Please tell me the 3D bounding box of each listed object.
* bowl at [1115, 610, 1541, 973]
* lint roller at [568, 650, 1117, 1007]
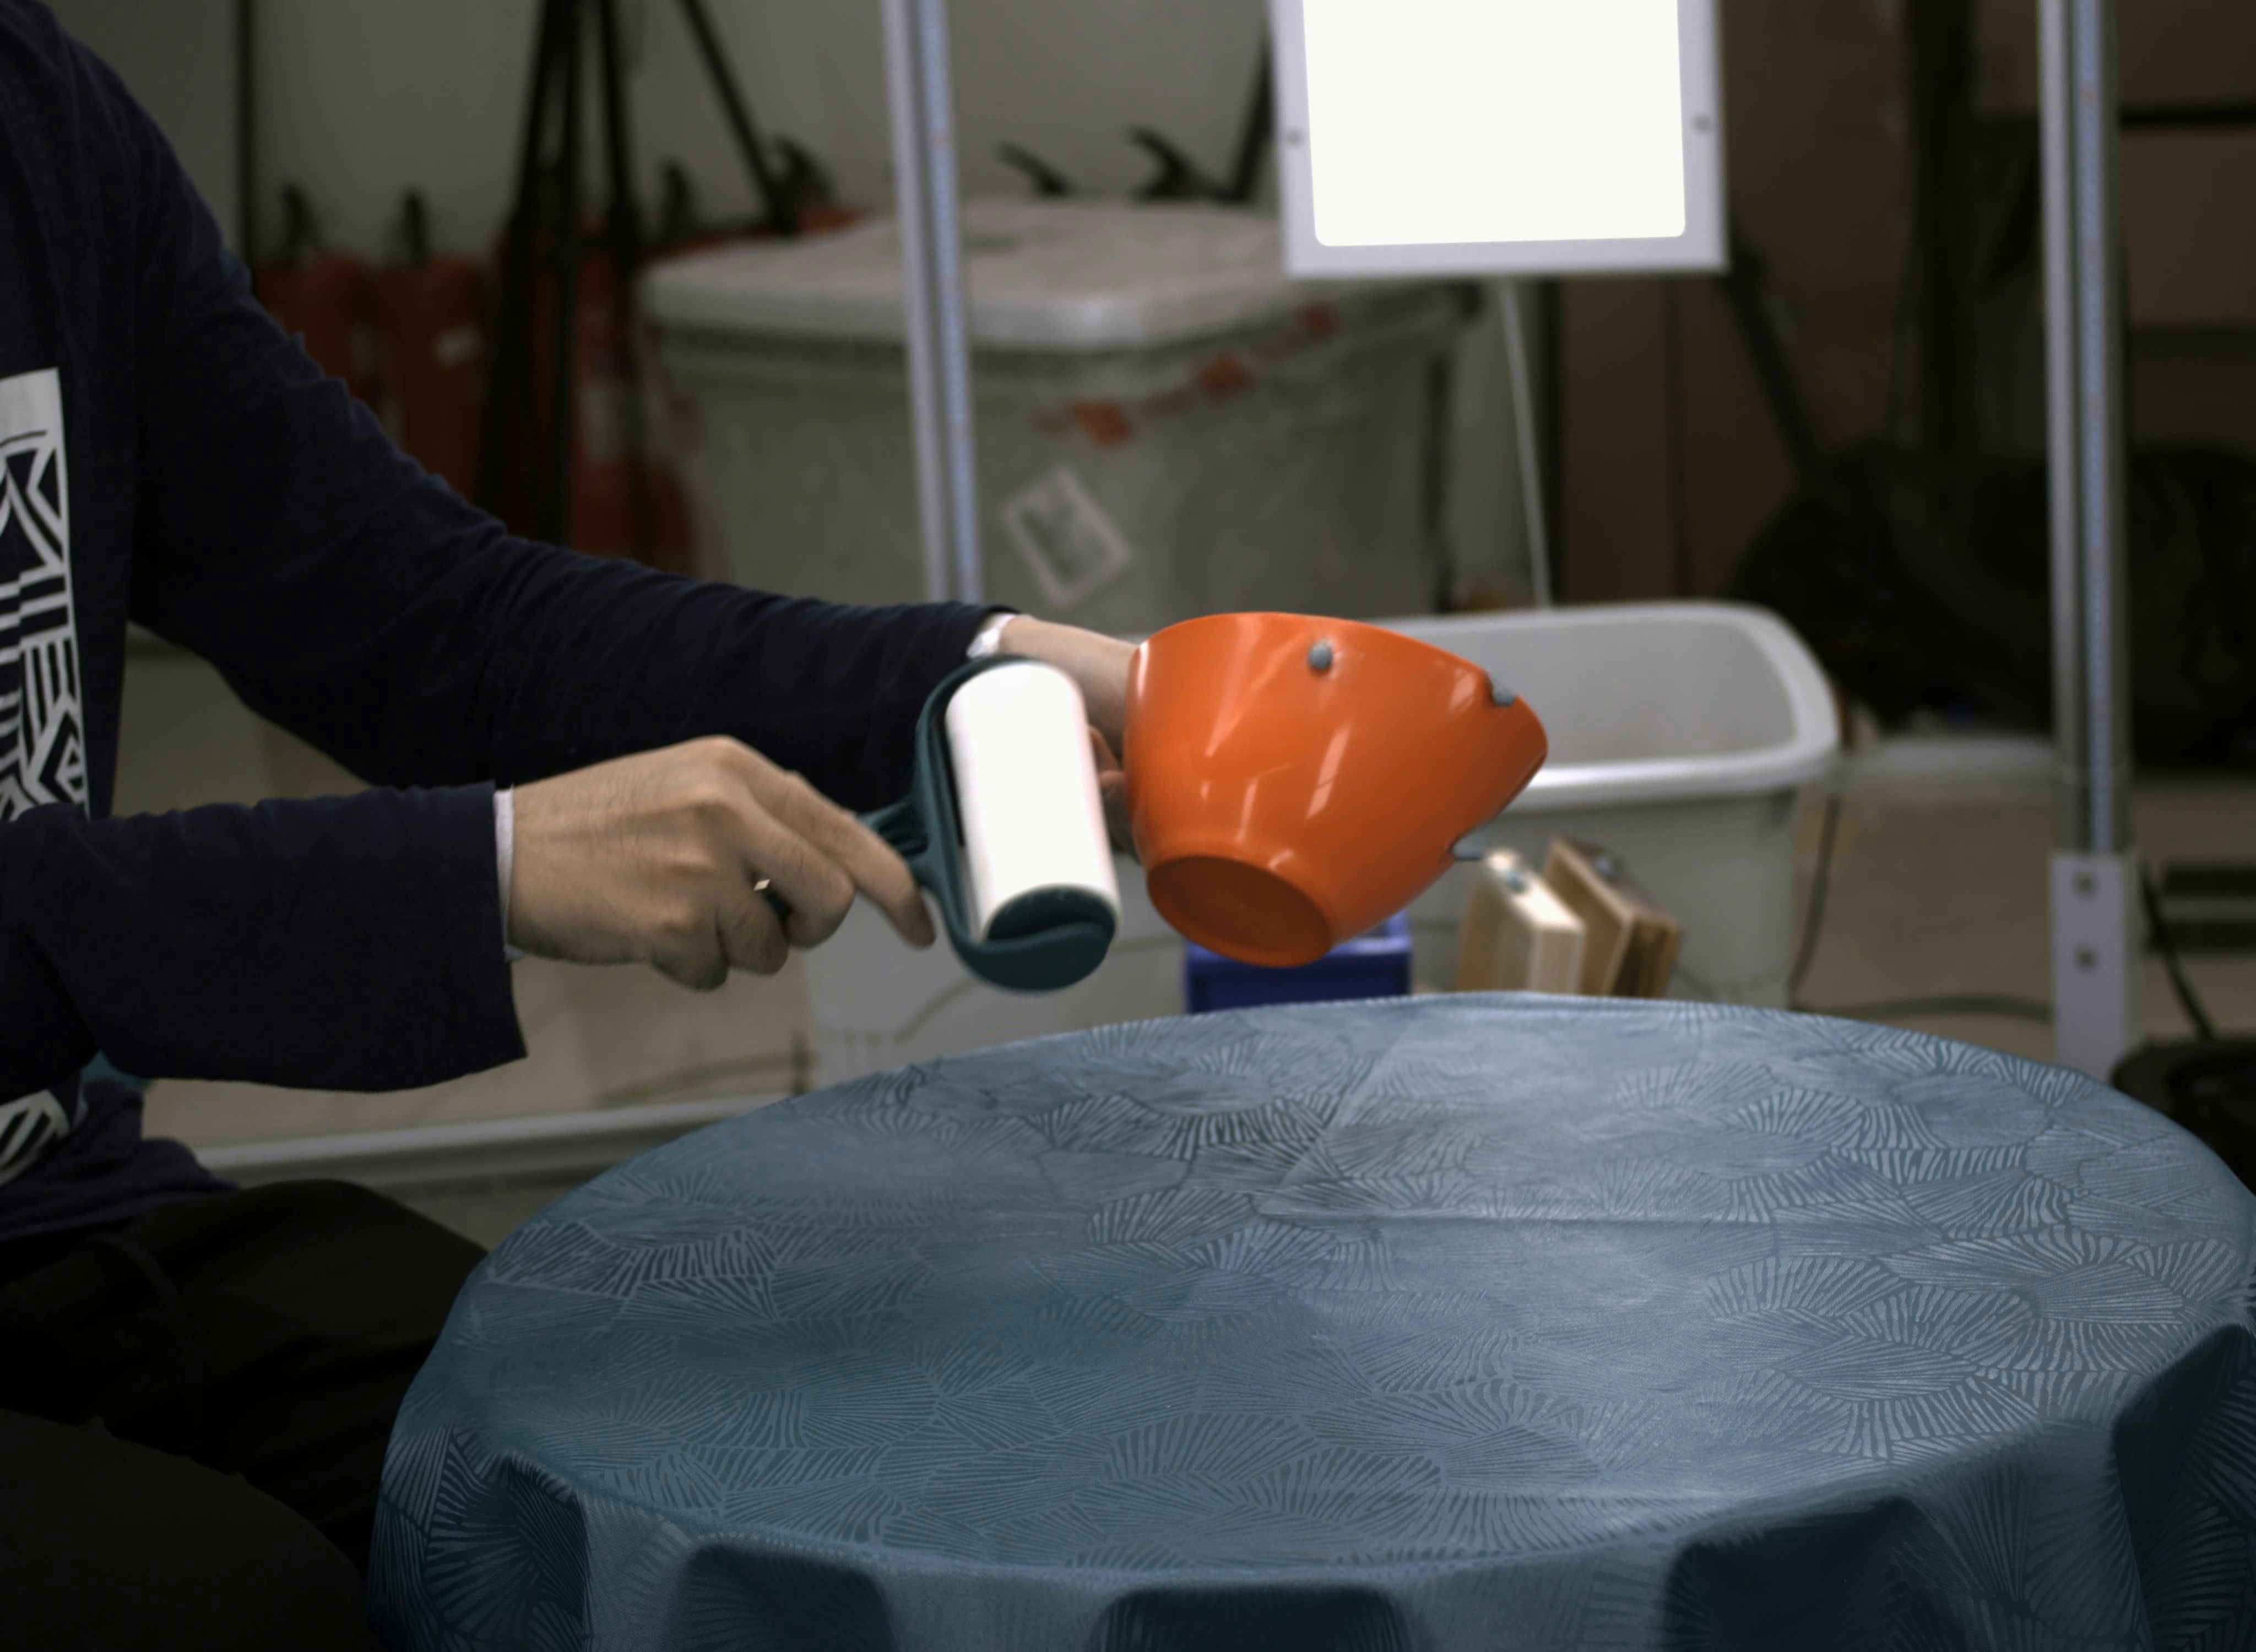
[{"bbox_3d":[0.059,-0.004,1.884,0.150,0.147,0.103,3,55,27],"label":"bowl"},{"bbox_3d":[-0.099,0.011,1.828,0.179,0.048,0.134,-9,48,-1],"label":"lint roller"}]
